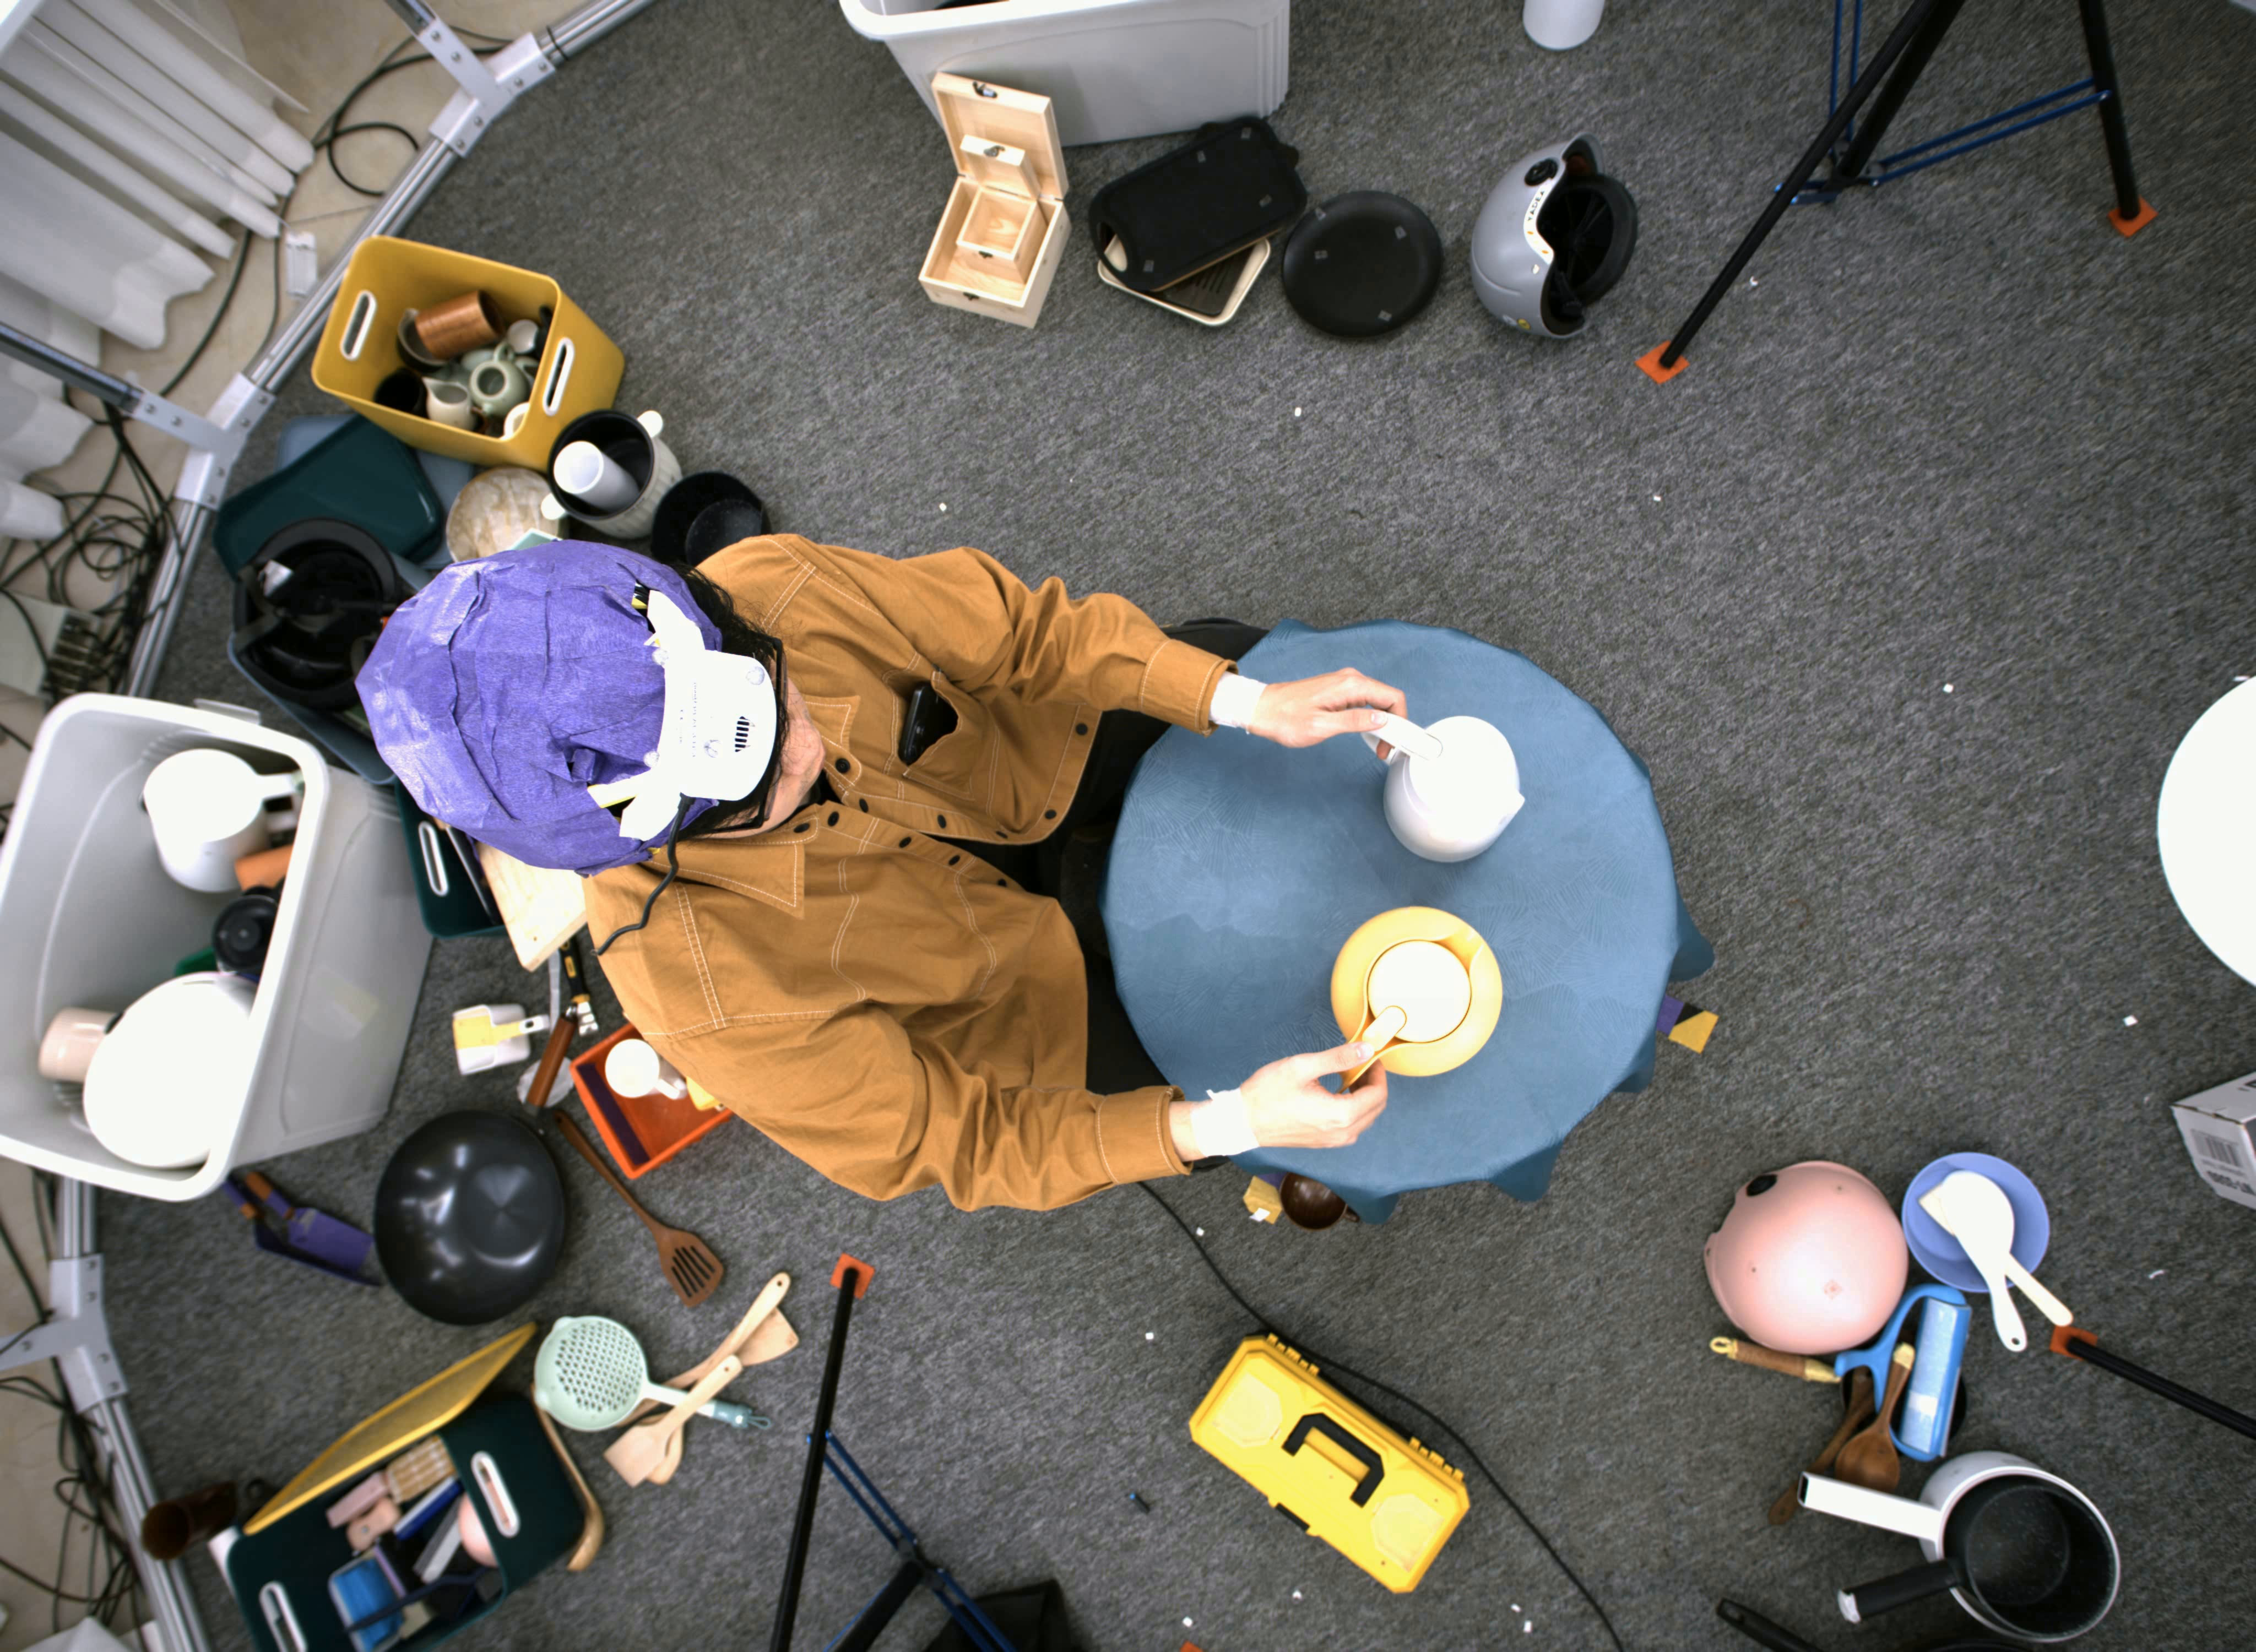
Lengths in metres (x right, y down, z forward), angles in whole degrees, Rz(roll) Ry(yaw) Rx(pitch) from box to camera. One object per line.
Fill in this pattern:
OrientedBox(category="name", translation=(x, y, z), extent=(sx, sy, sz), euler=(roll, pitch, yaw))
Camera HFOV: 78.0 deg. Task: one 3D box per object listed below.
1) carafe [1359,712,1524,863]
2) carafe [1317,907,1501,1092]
OrientedBox(category="carafe", translation=(0.299, -0.050, 1.336), extent=(0.167, 0.249, 0.133), euler=(34, 92, 12))
OrientedBox(category="carafe", translation=(0.260, 0.170, 1.327), extent=(0.203, 0.261, 0.162), euler=(-45, 77, 3))
